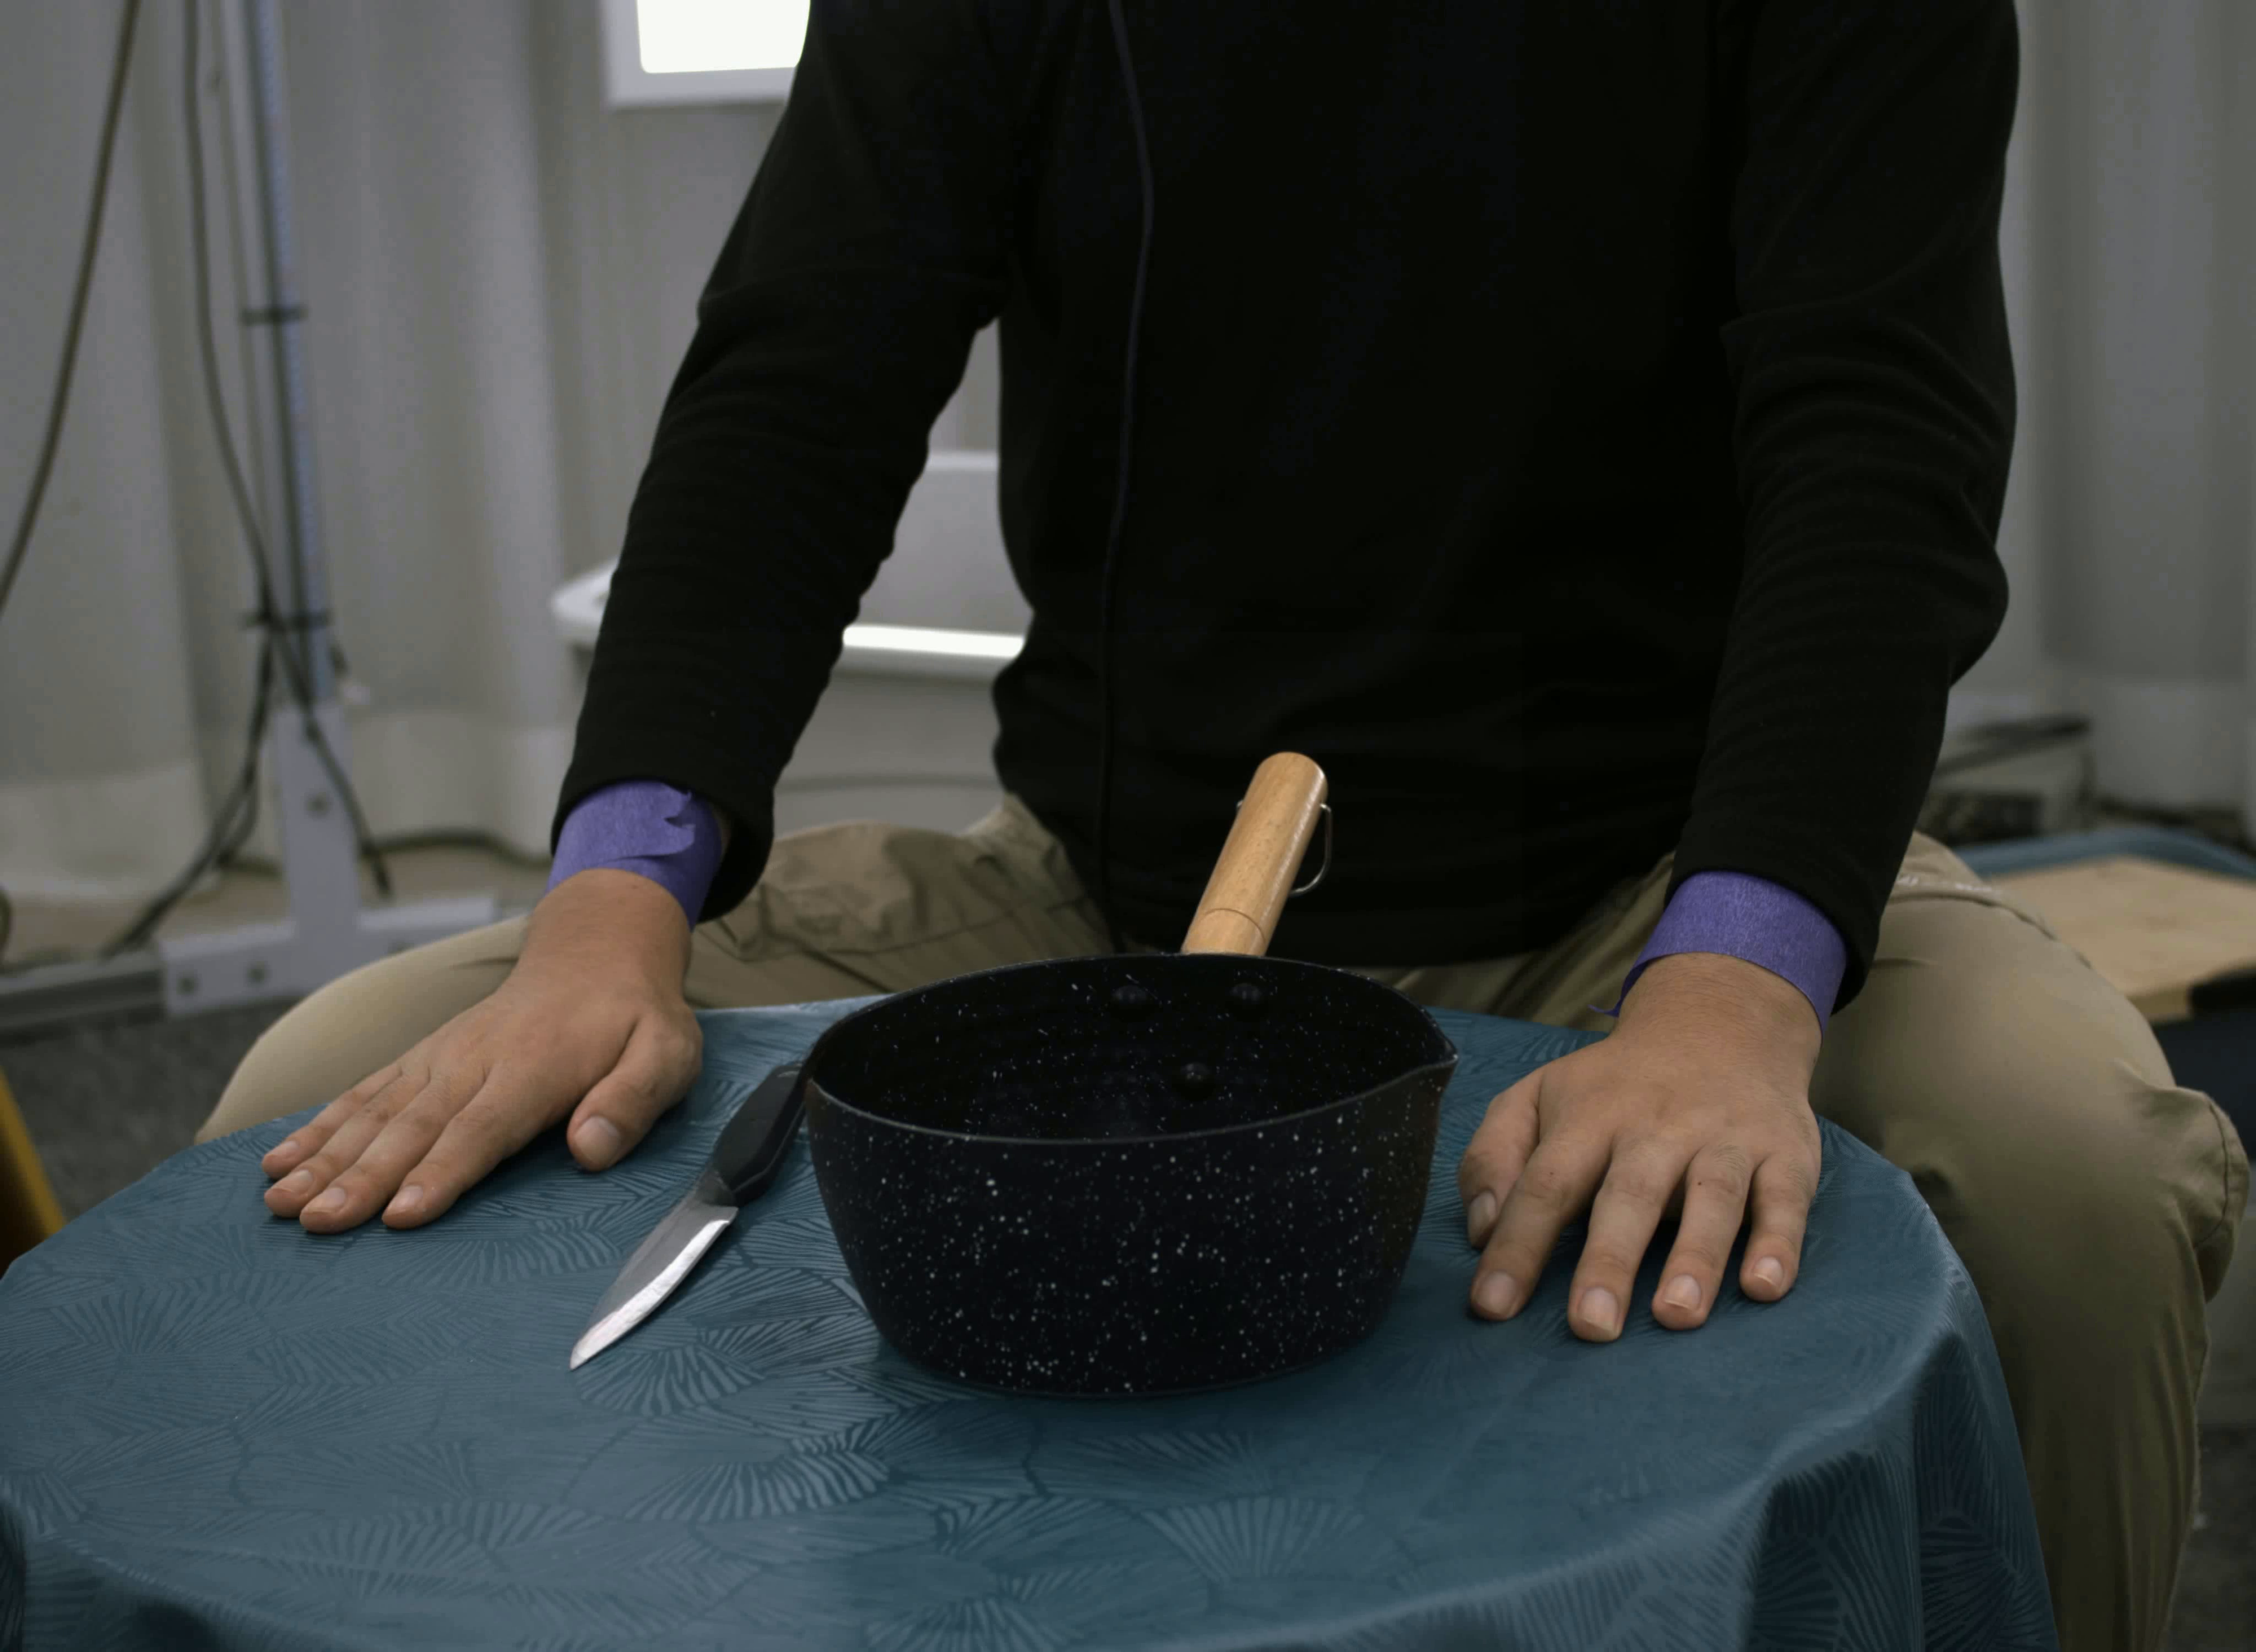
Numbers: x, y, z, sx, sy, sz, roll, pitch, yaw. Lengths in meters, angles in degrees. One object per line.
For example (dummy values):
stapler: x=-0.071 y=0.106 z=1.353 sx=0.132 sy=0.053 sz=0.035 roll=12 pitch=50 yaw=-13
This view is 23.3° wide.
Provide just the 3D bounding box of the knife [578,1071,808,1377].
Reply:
knife: x=-0.134 y=0.122 z=1.693 sx=0.024 sy=0.016 sz=0.239 roll=5 pitch=19 yaw=11

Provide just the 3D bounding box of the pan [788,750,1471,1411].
pan: x=0.016 y=0.072 z=1.668 sx=0.207 sy=0.108 sz=0.344 roll=0 pitch=16 yaw=13
